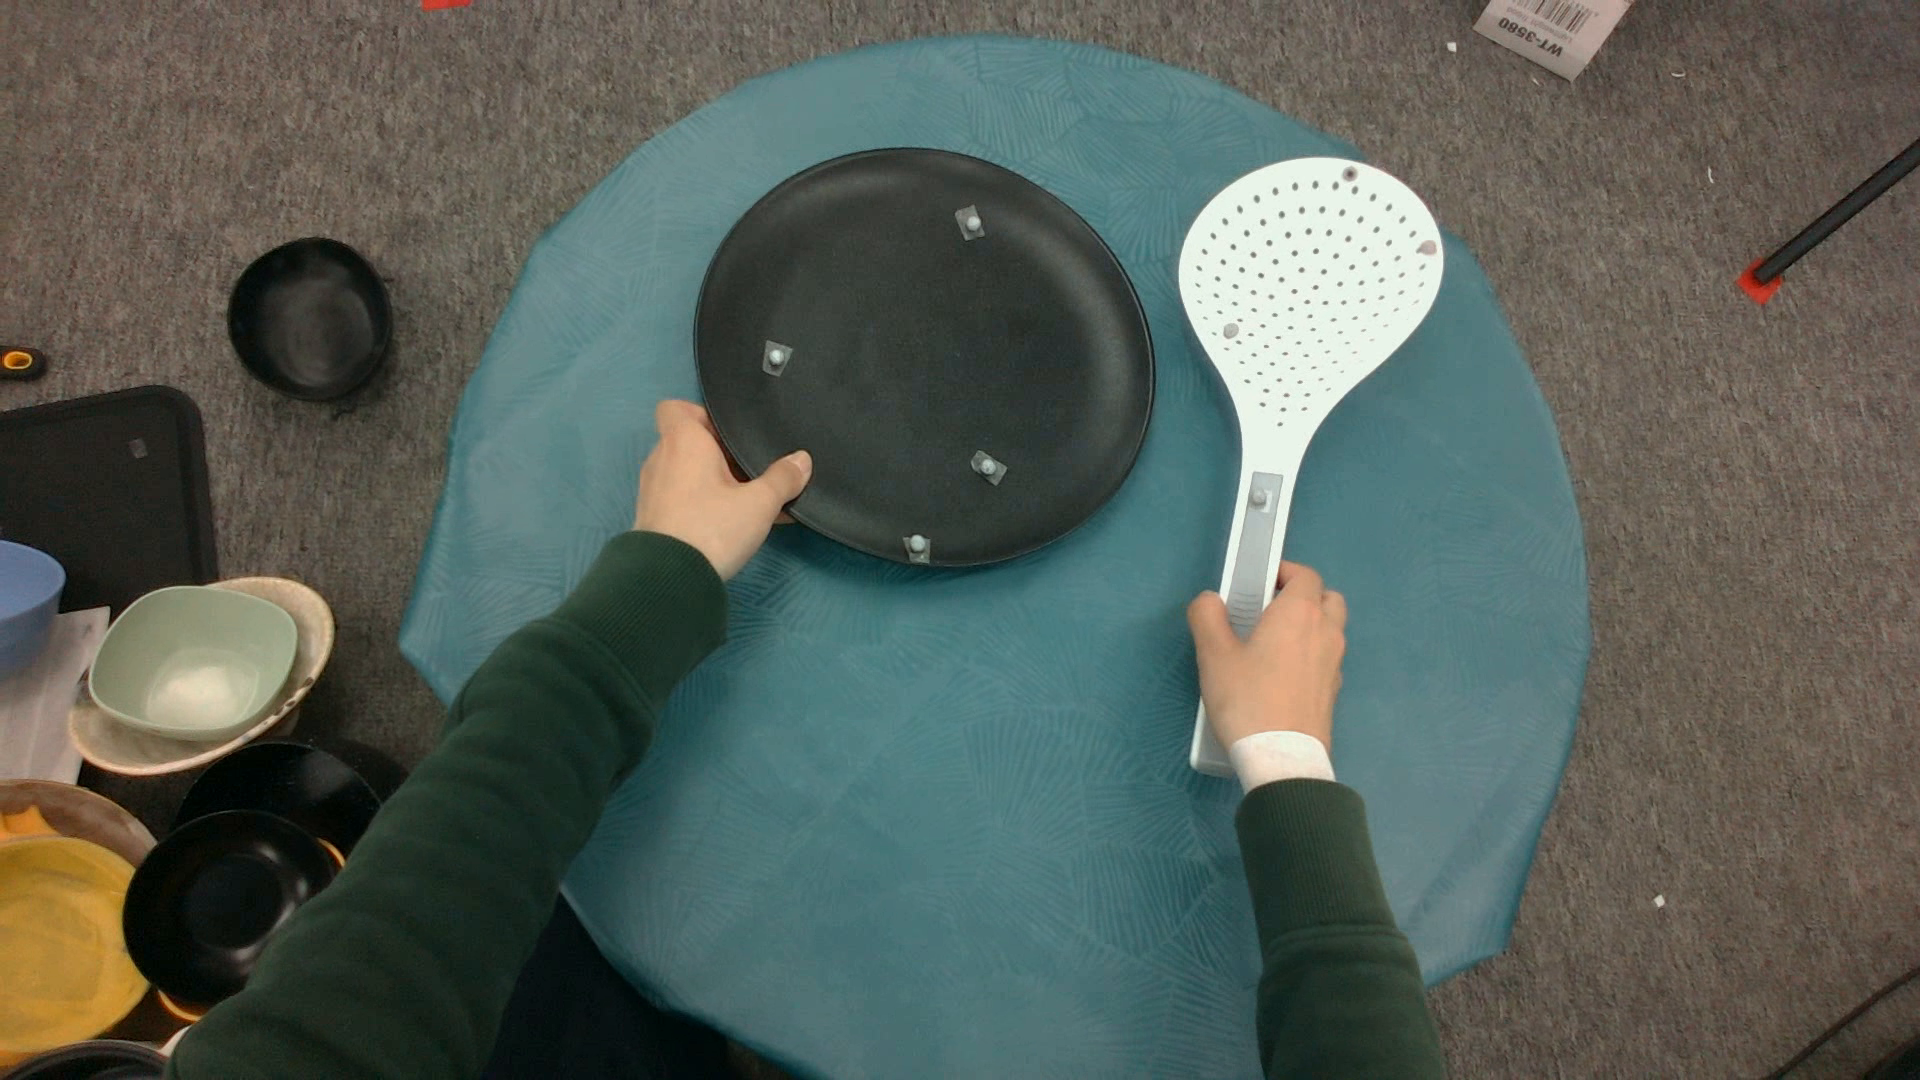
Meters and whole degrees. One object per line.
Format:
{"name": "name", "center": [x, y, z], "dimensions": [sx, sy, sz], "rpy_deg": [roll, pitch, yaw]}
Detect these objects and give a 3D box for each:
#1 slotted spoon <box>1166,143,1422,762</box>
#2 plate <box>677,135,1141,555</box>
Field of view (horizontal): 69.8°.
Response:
{"name": "slotted spoon", "center": [0.156, -0.056, 0.713], "dimensions": [0.136, 0.045, 0.351], "rpy_deg": [7, 65, 19]}
{"name": "plate", "center": [-0.024, -0.104, 0.720], "dimensions": [0.244, 0.023, 0.245], "rpy_deg": [4, 69, -11]}
